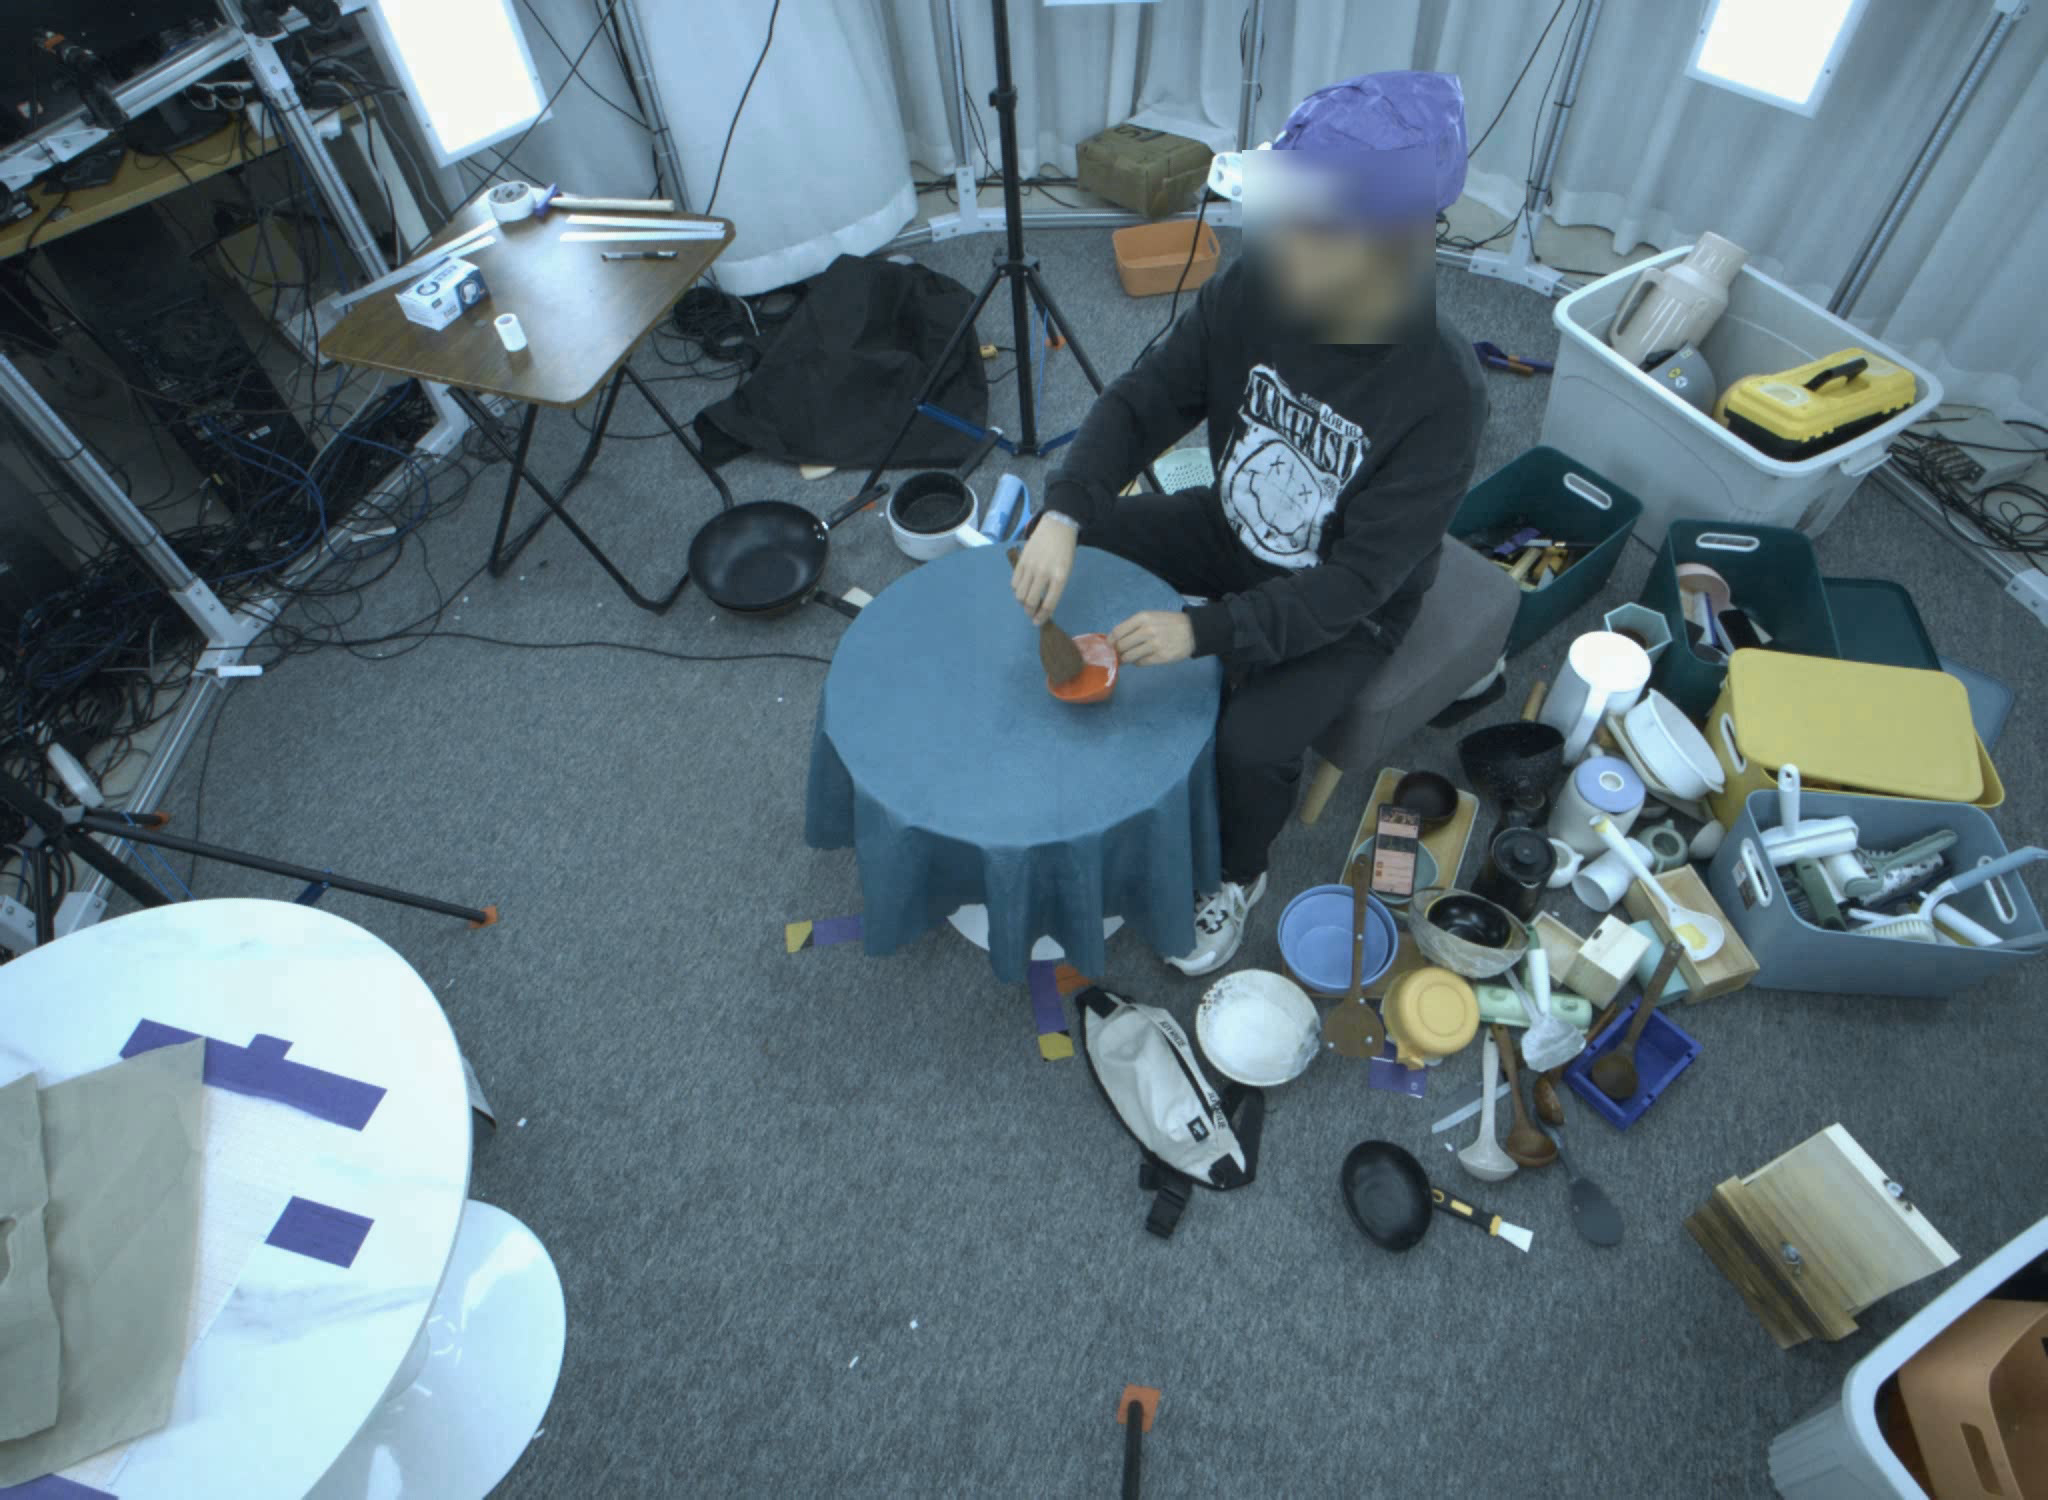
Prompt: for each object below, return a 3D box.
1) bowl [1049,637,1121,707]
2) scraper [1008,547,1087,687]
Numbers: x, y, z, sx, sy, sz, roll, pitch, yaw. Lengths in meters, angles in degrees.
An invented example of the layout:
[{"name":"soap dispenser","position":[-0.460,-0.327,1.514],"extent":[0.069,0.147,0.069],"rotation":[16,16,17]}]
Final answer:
[{"name":"bowl","position":[0.097,-0.107,1.818],"extent":[0.117,0.052,0.118],"rotation":[-12,57,21]},{"name":"scraper","position":[0.027,-0.196,1.791],"extent":[0.077,0.213,0.010],"rotation":[-35,16,-37]}]
